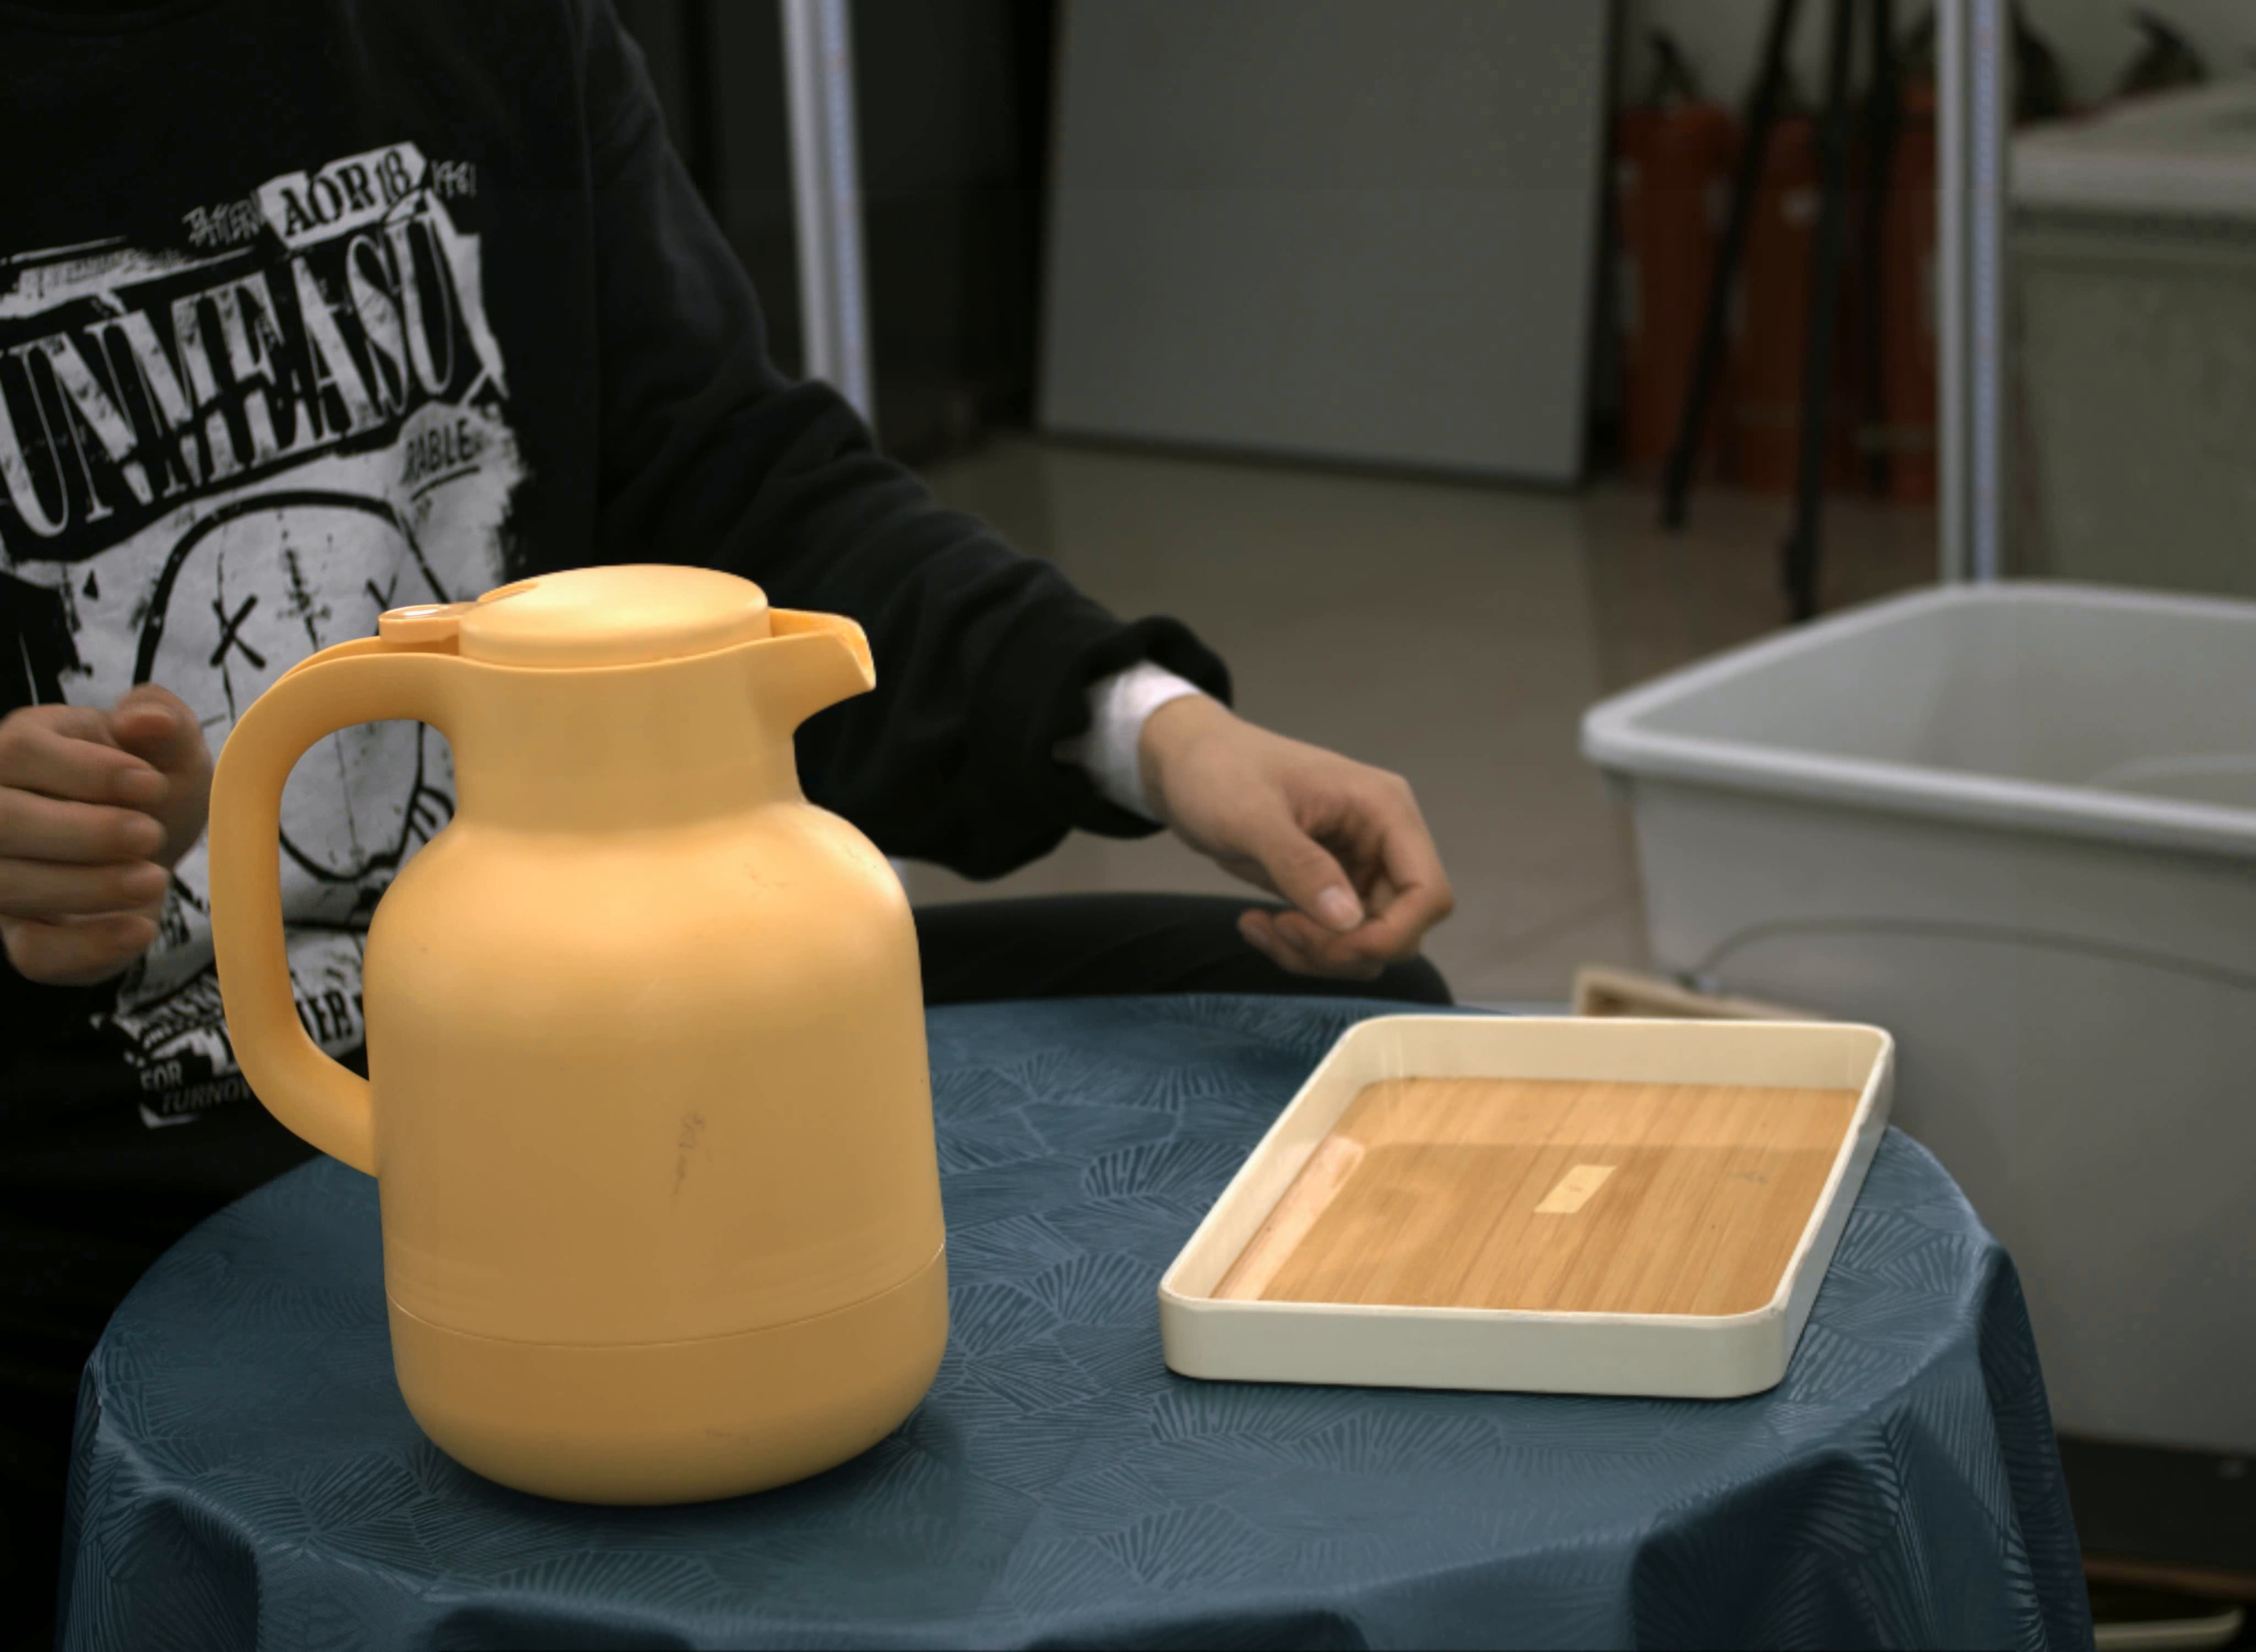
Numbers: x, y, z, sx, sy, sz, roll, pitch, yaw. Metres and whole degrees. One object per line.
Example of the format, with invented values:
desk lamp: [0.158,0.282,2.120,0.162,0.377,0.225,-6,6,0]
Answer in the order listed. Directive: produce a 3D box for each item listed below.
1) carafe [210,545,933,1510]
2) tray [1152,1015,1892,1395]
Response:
carafe: [-0.159,0.053,1.549,0.201,0.263,0.163,0,11,9]
tray: [0.132,0.115,1.702,0.191,0.028,0.298,0,14,16]
